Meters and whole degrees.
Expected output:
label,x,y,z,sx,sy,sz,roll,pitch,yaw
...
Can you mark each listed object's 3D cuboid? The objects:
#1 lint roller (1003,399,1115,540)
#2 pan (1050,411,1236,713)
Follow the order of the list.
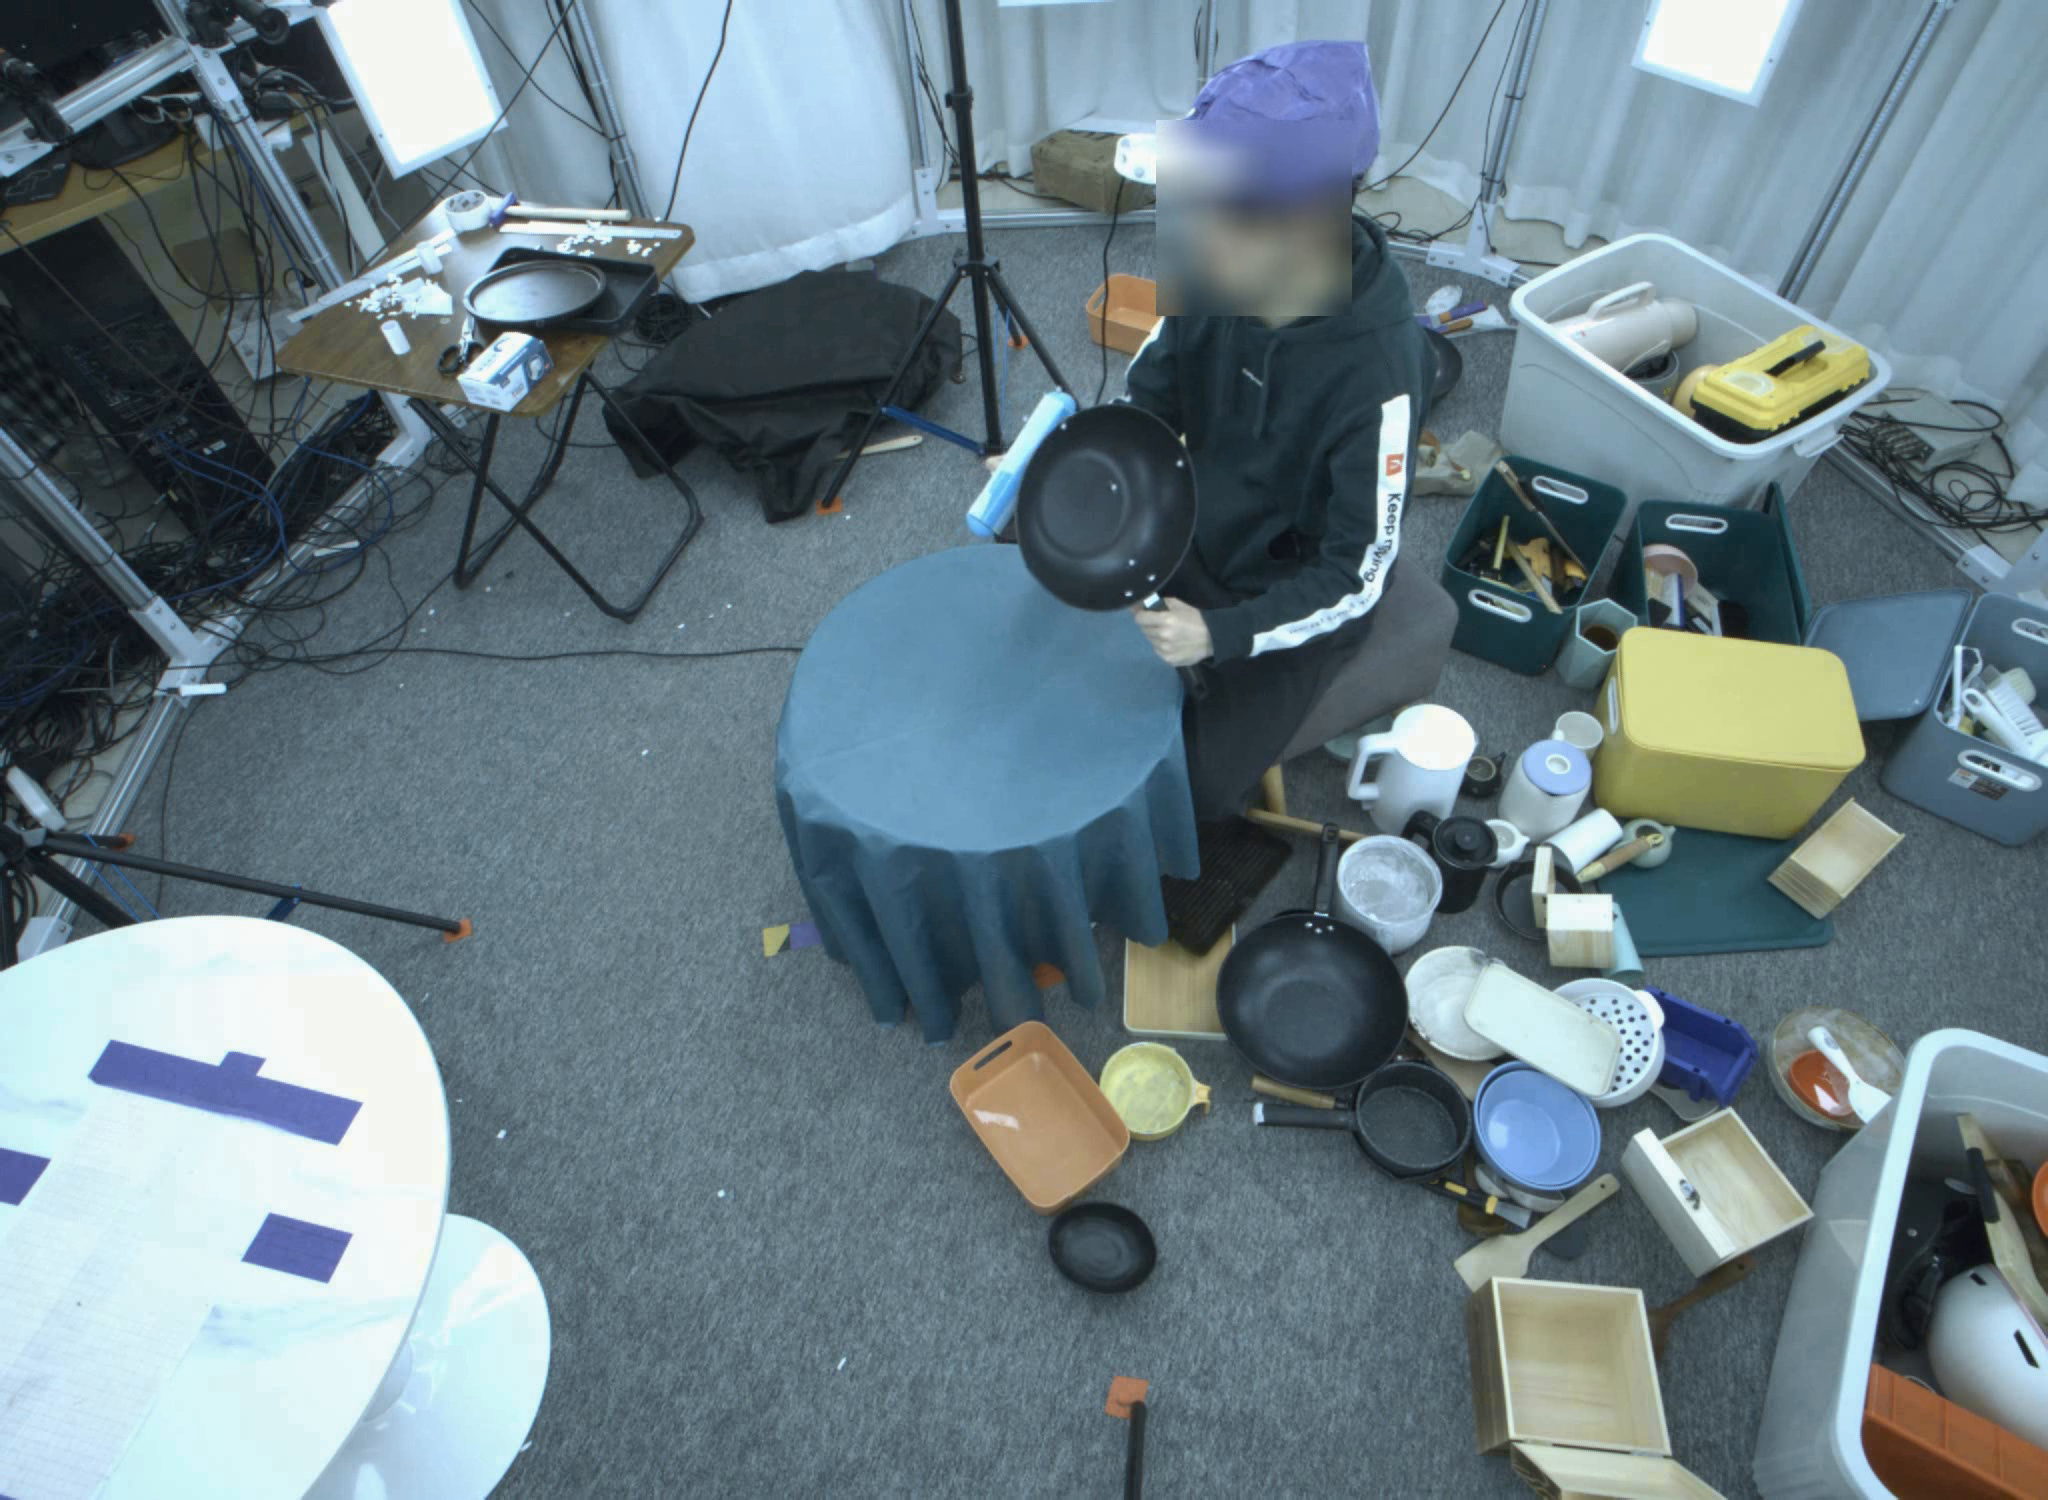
label,x,y,z,sx,sy,sz,roll,pitch,yaw
lint roller,0.050,-0.389,1.728,0.068,0.180,0.229,33,93,0
pan,0.188,-0.255,1.715,0.289,0.471,0.085,-35,29,-12
